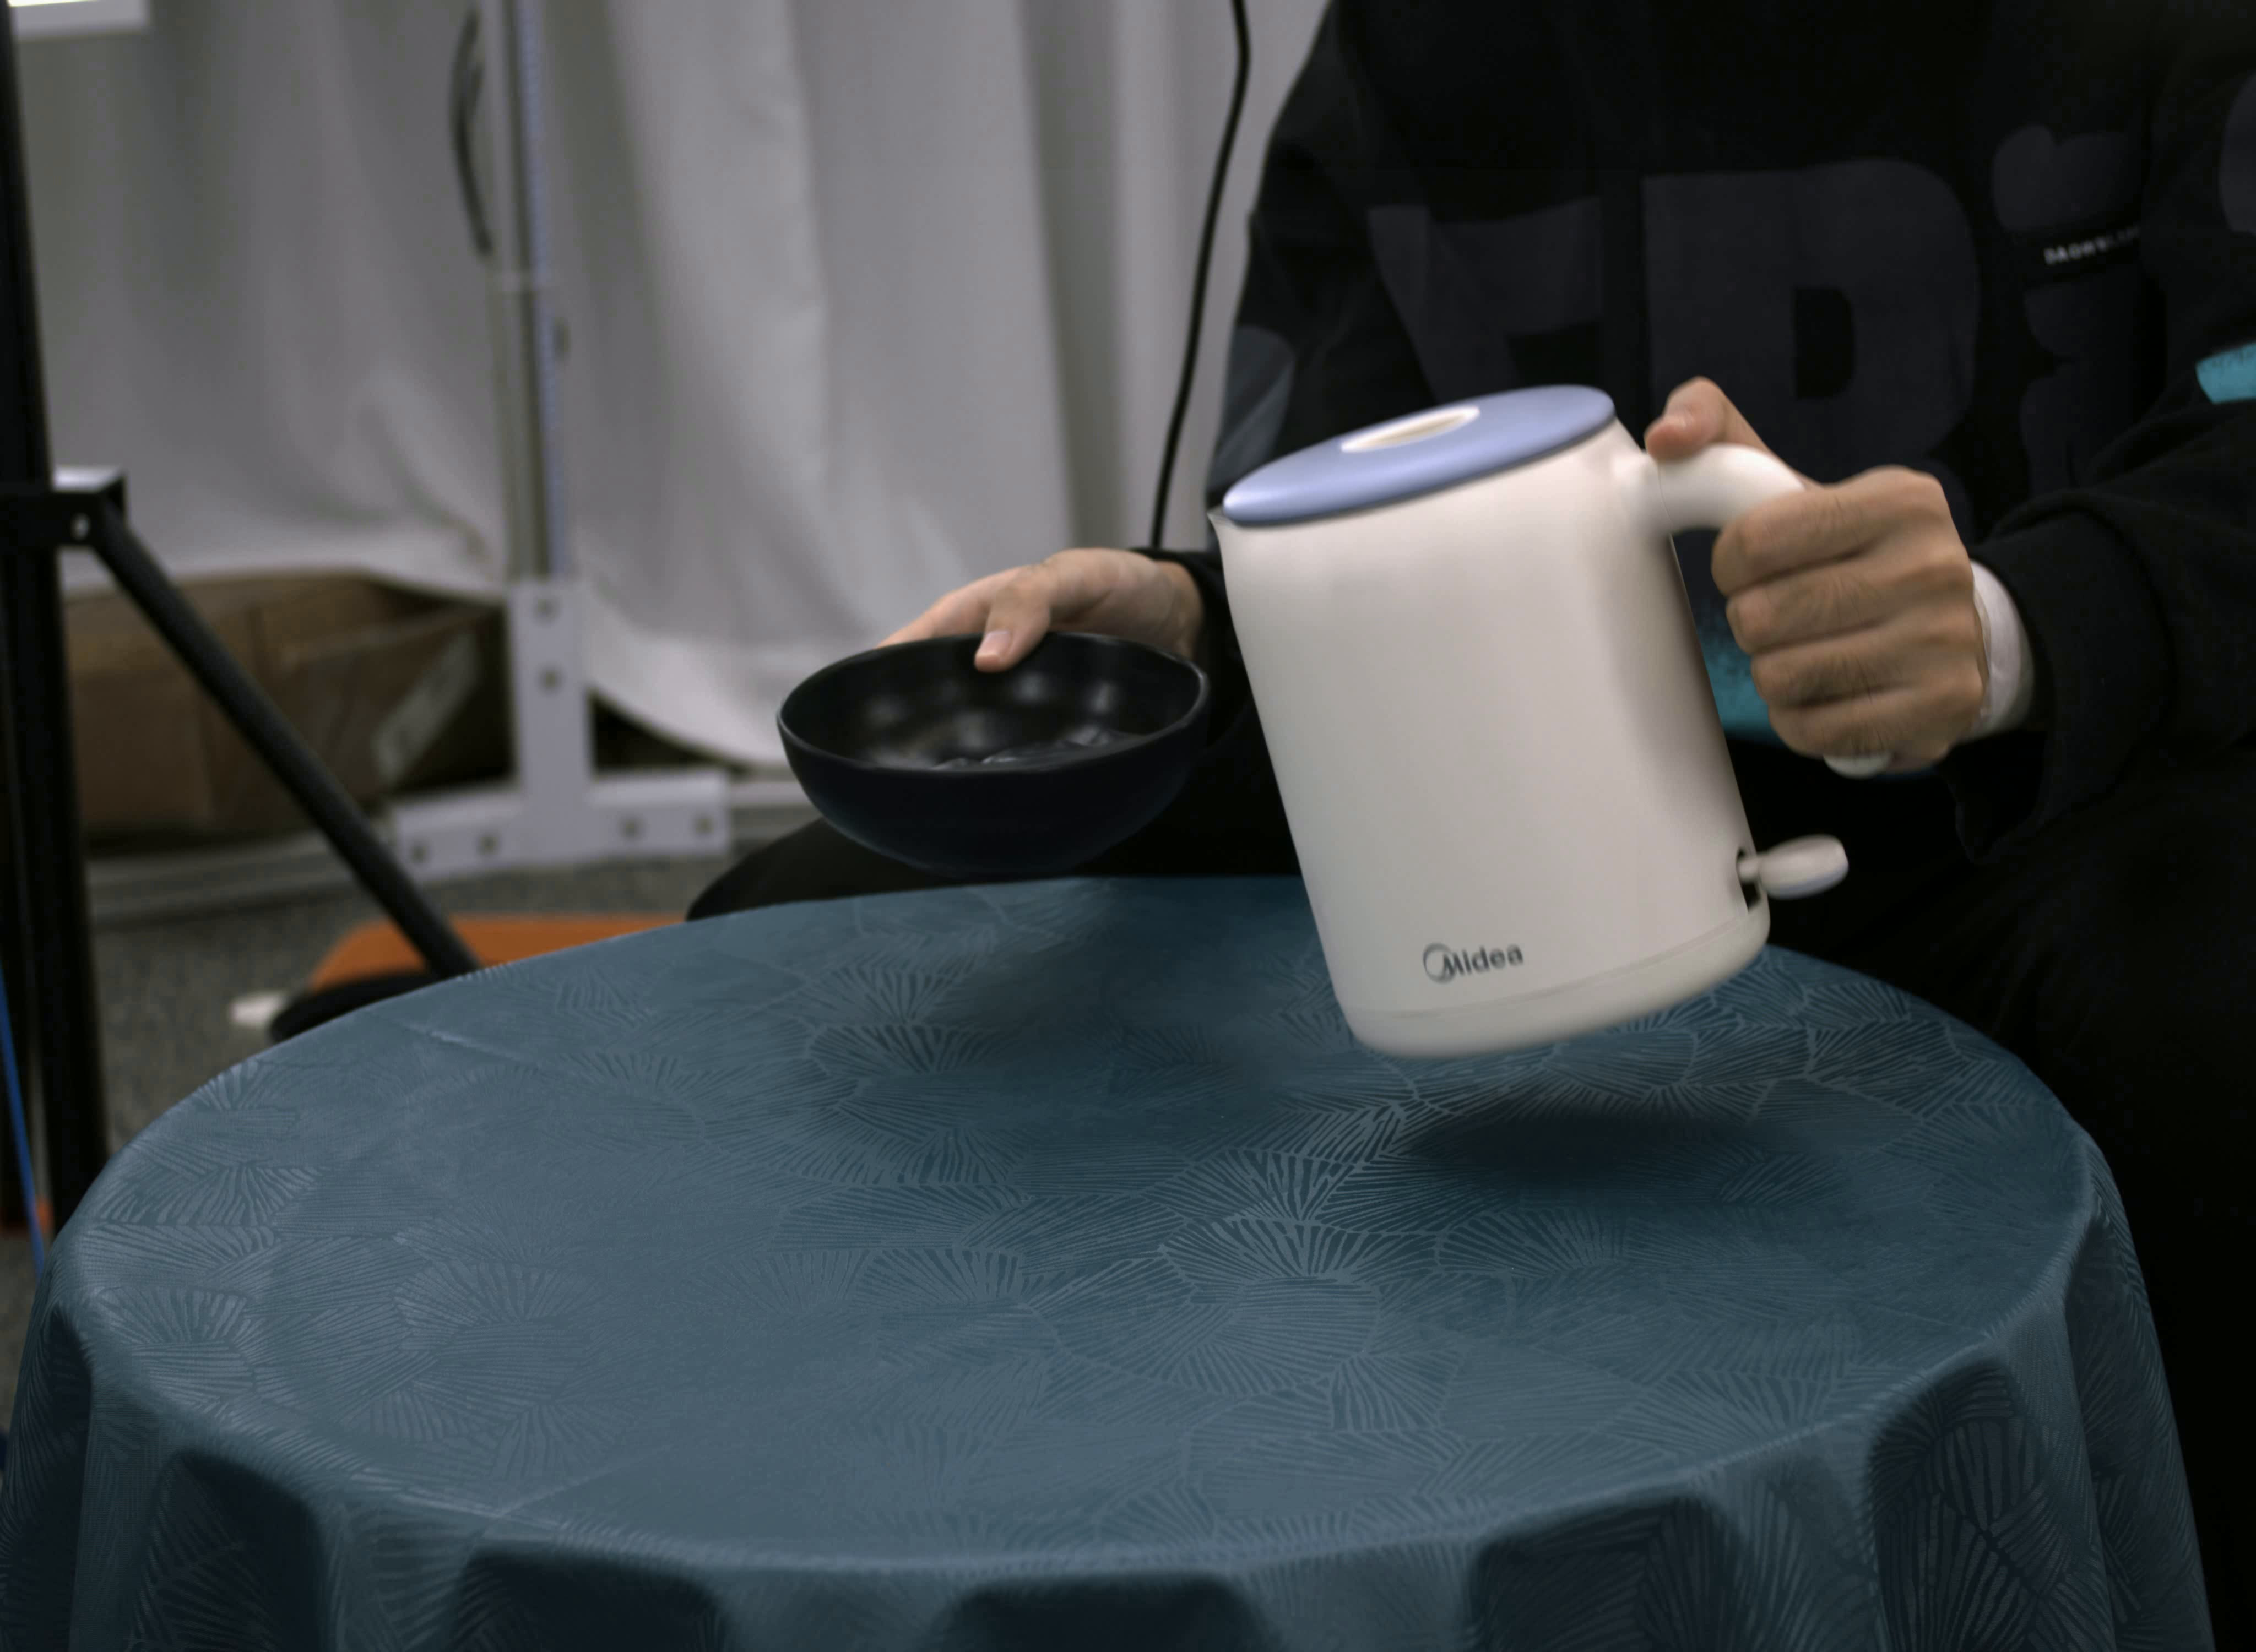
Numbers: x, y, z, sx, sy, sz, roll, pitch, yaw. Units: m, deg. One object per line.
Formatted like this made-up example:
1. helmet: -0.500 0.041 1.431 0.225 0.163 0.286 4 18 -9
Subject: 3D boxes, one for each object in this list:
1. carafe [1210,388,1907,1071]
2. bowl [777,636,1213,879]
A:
1. carafe: 0.129 -0.032 1.549 0.193 0.182 0.131 -8 13 24
2. bowl: -0.041 -0.017 1.689 0.139 0.050 0.141 -3 18 0
